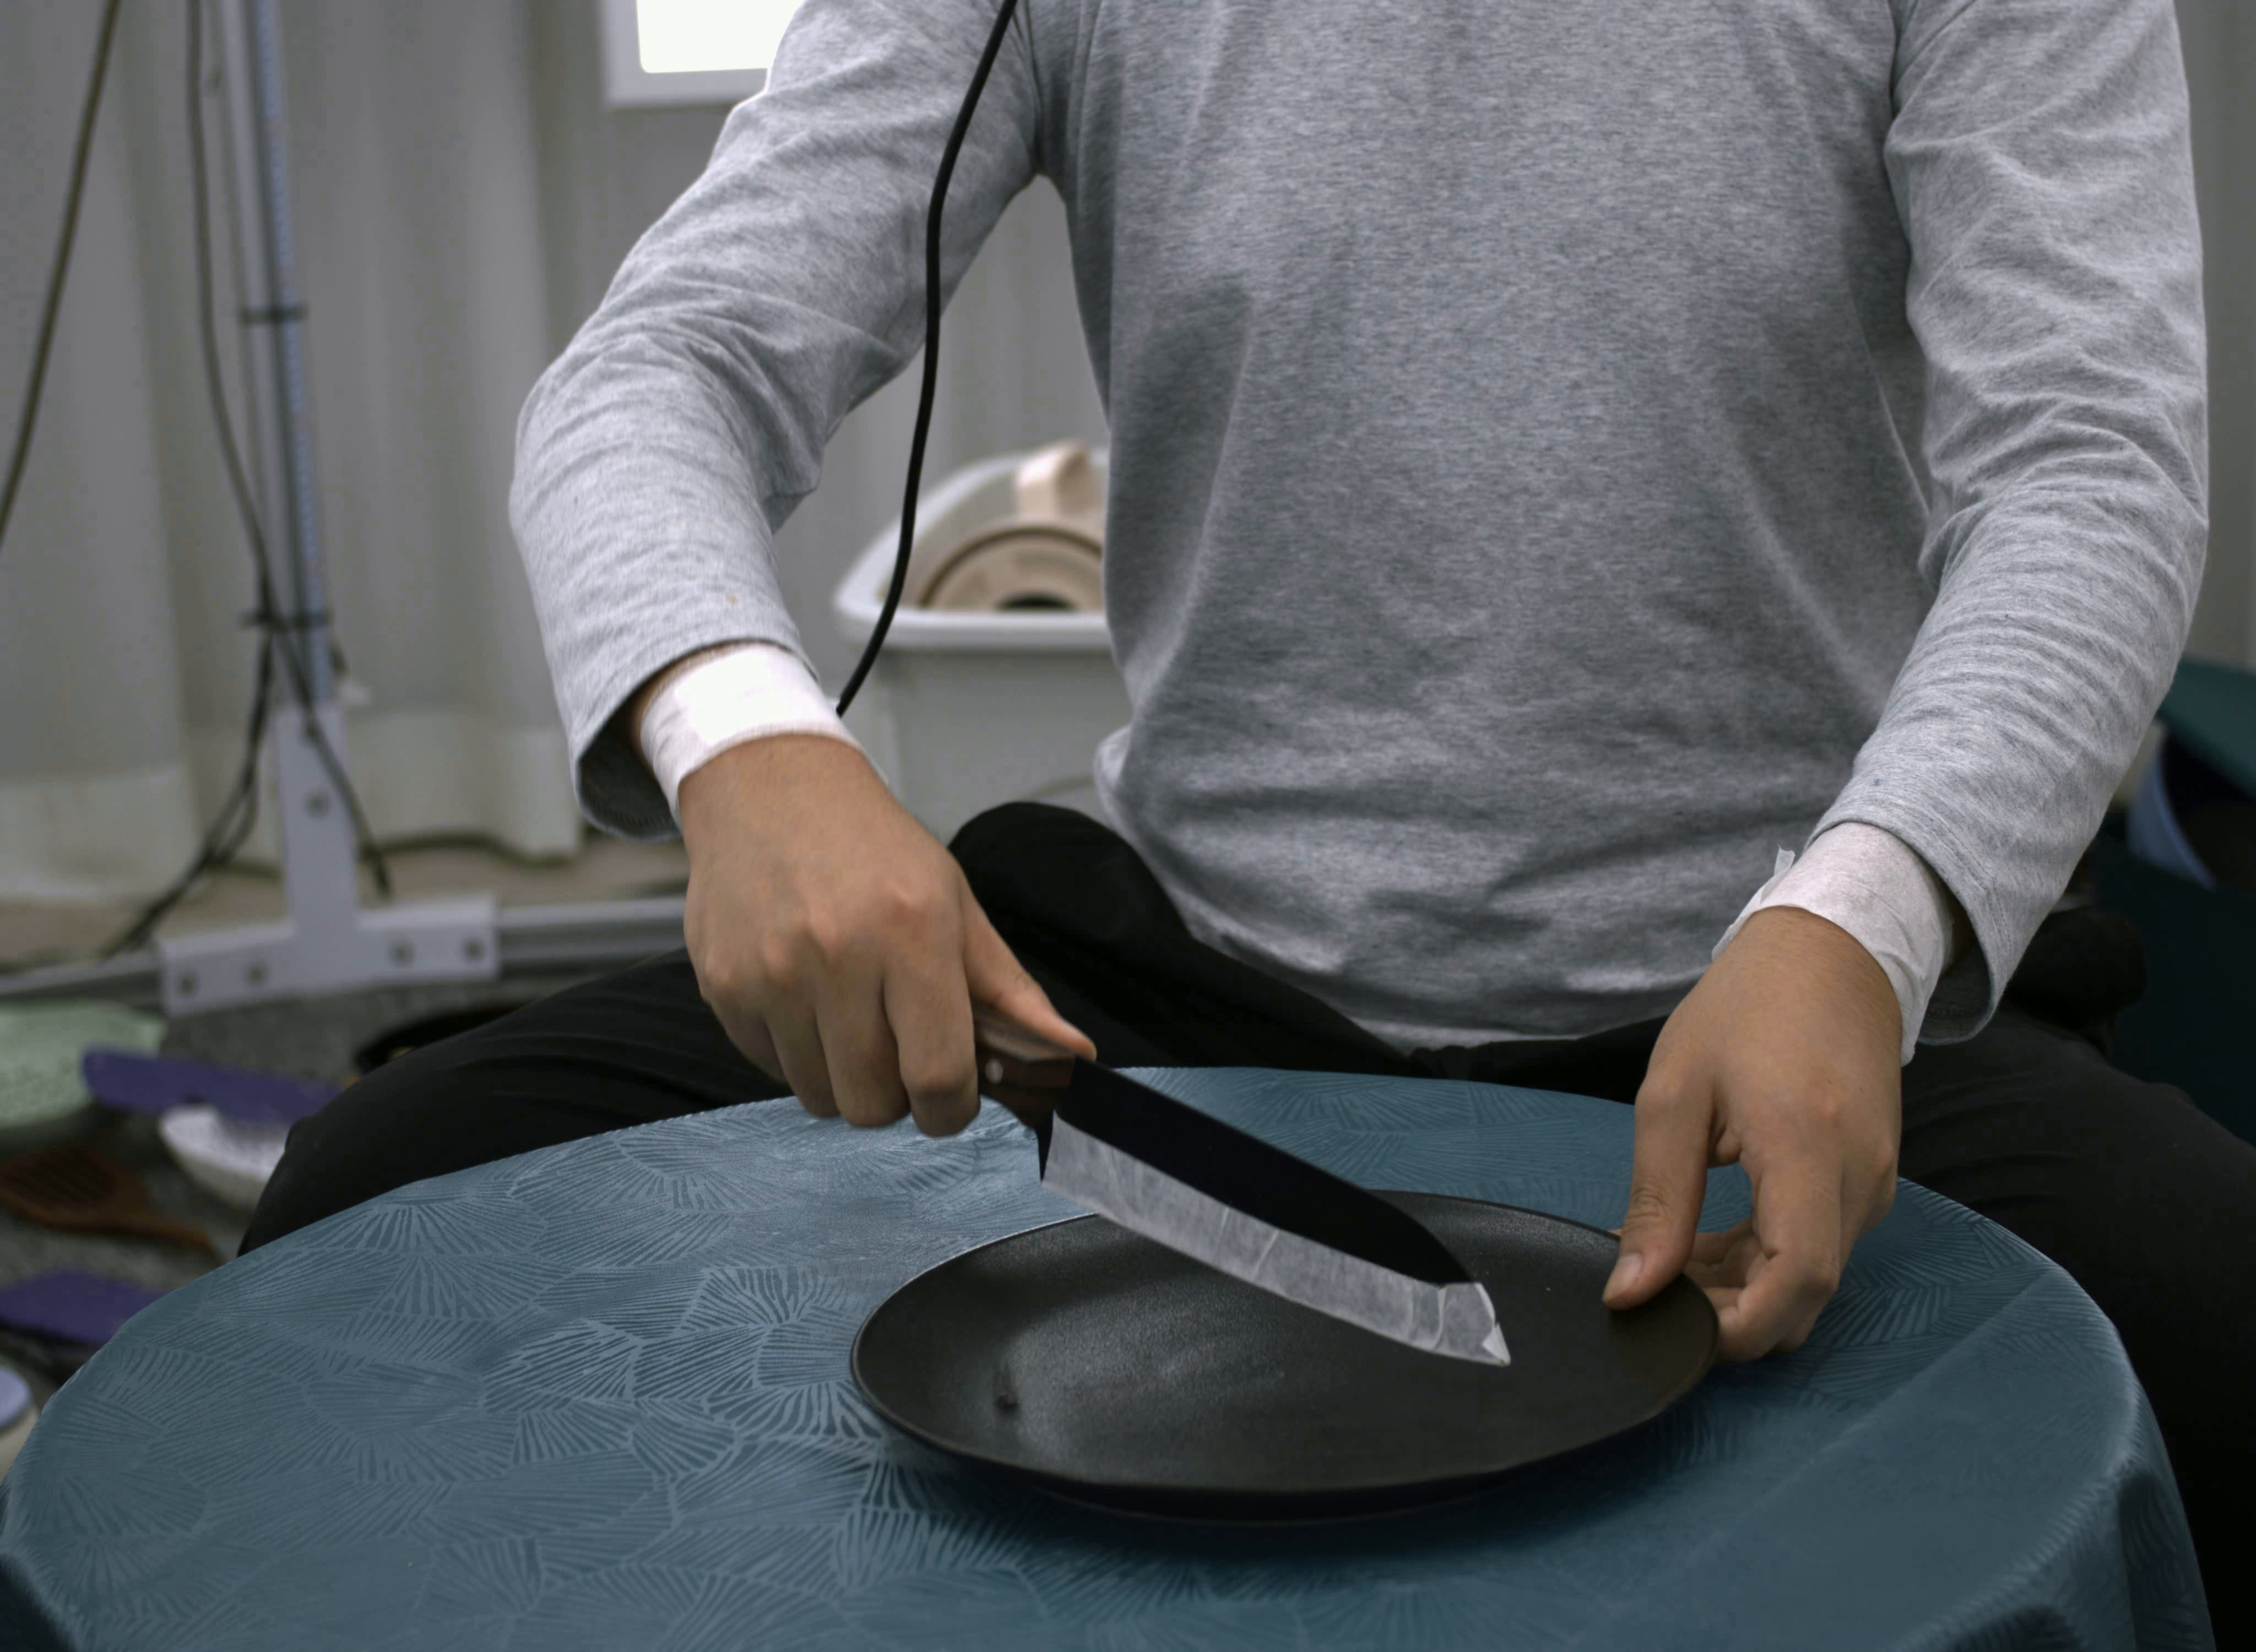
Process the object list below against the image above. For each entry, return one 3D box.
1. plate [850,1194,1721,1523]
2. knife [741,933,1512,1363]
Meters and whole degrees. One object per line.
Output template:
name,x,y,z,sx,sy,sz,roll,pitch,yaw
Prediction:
plate,0.044,0.151,1.528,0.243,0.023,0.246,-3,15,0
knife,-0.004,0.092,1.588,0.291,0.050,0.020,25,25,33
